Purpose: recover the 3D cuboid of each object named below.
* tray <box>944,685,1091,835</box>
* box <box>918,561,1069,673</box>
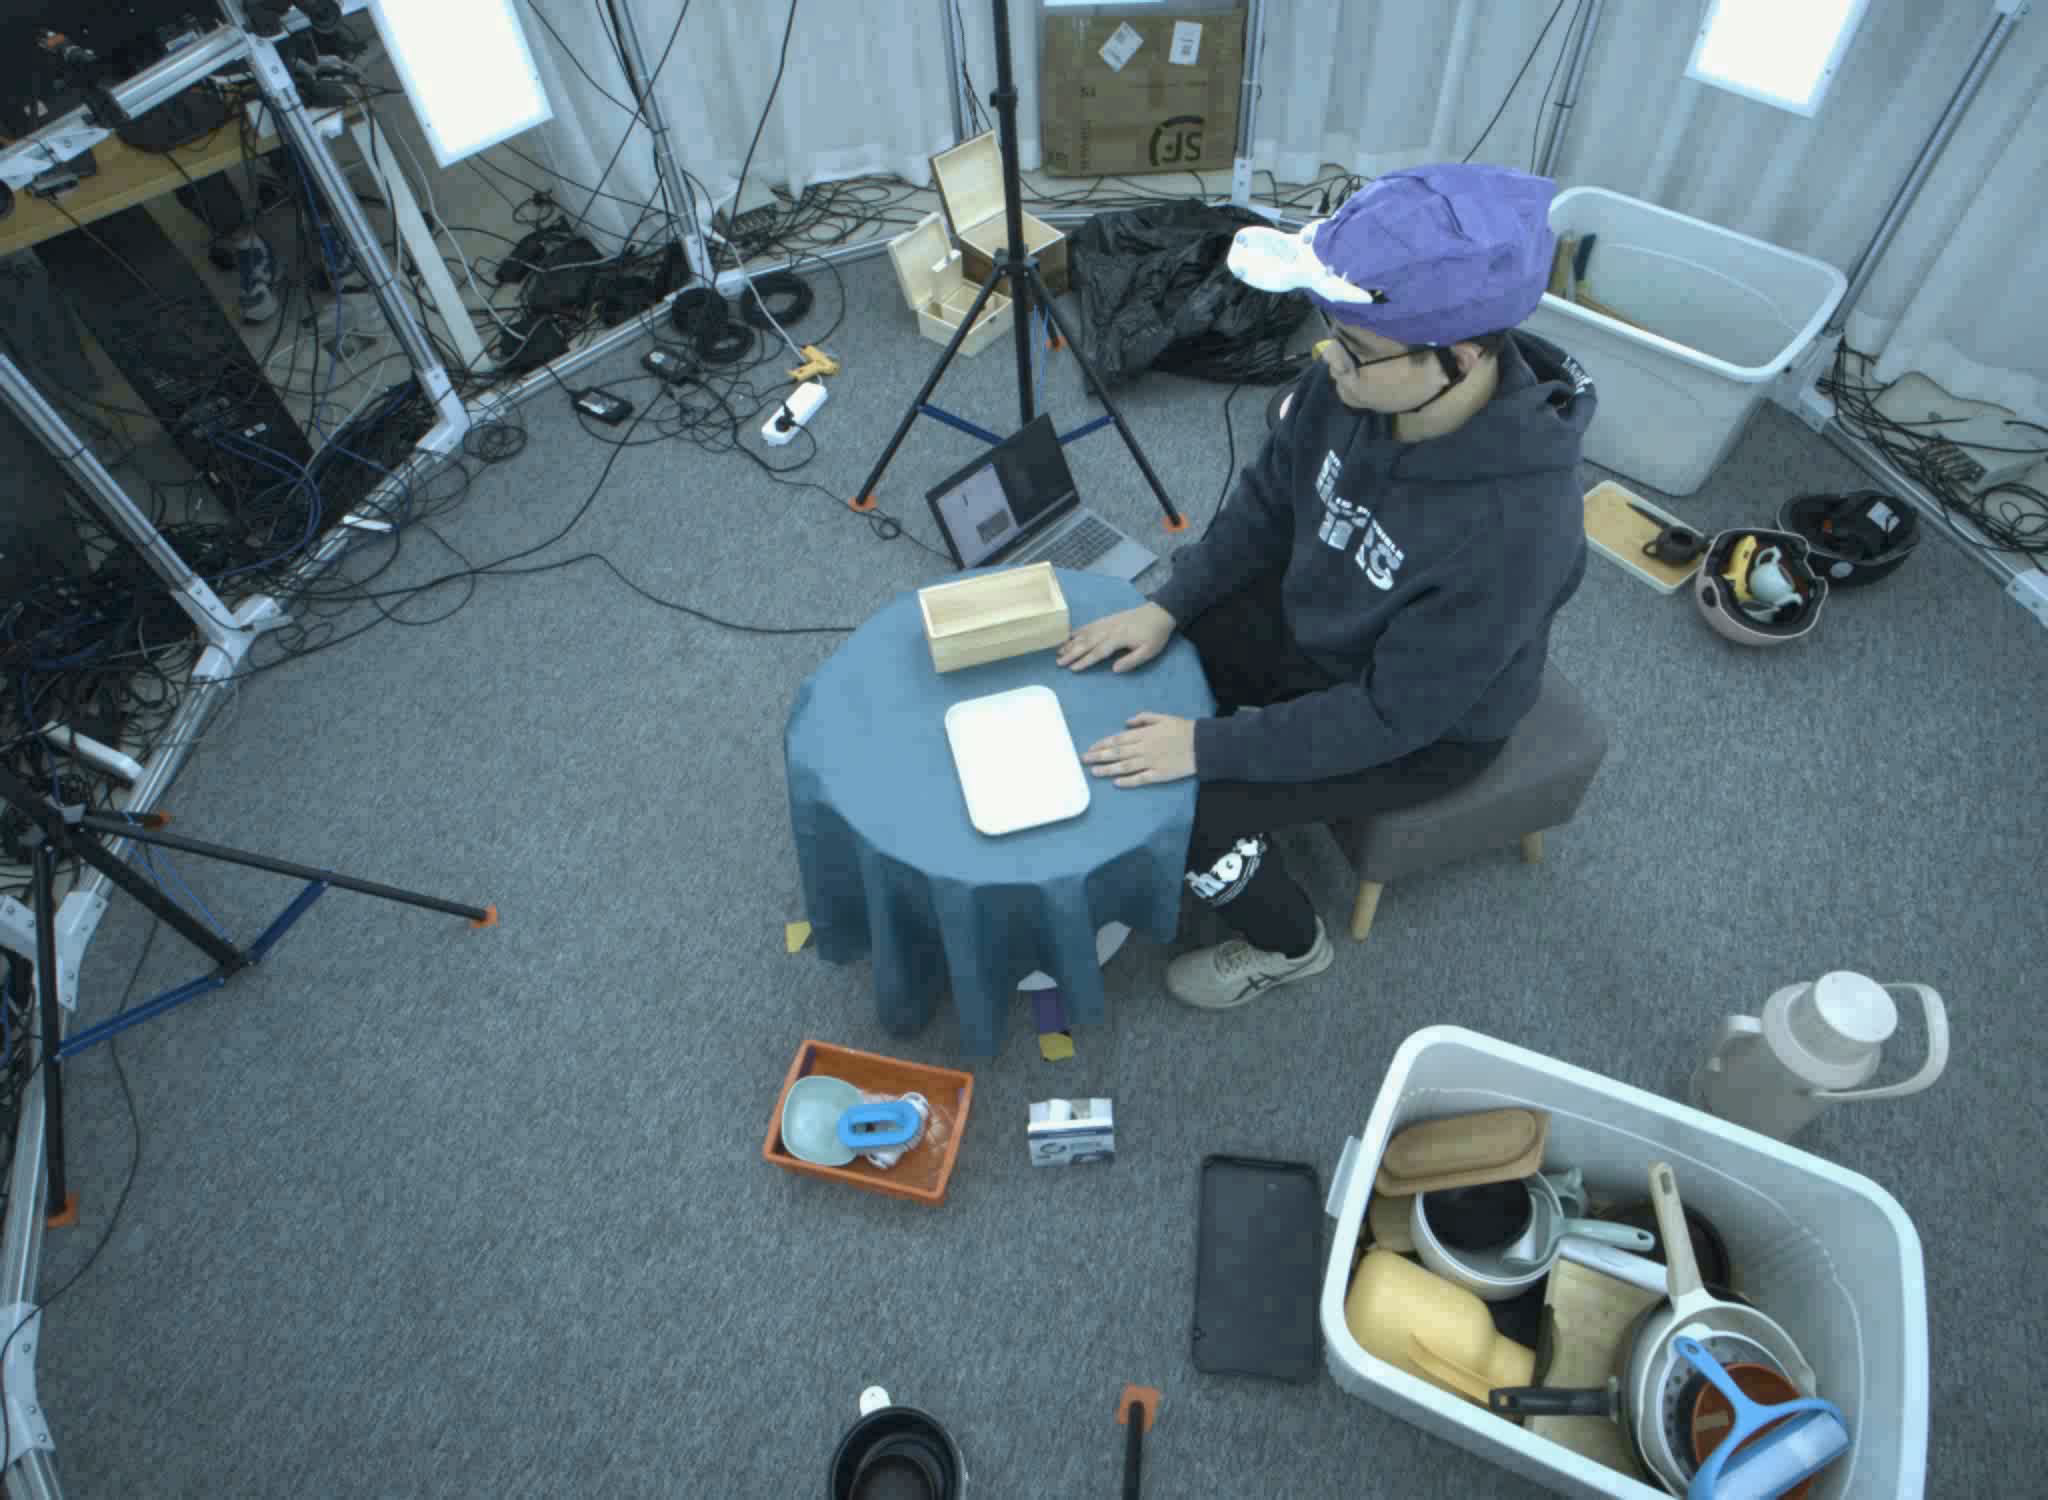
[{"bbox_3d":[-0.012,0.013,1.769,0.172,0.017,0.236,-13,55,-8],"label":"tray"},{"bbox_3d":[-0.047,-0.204,1.884,0.212,0.081,0.106,-14,56,-8],"label":"box"}]
